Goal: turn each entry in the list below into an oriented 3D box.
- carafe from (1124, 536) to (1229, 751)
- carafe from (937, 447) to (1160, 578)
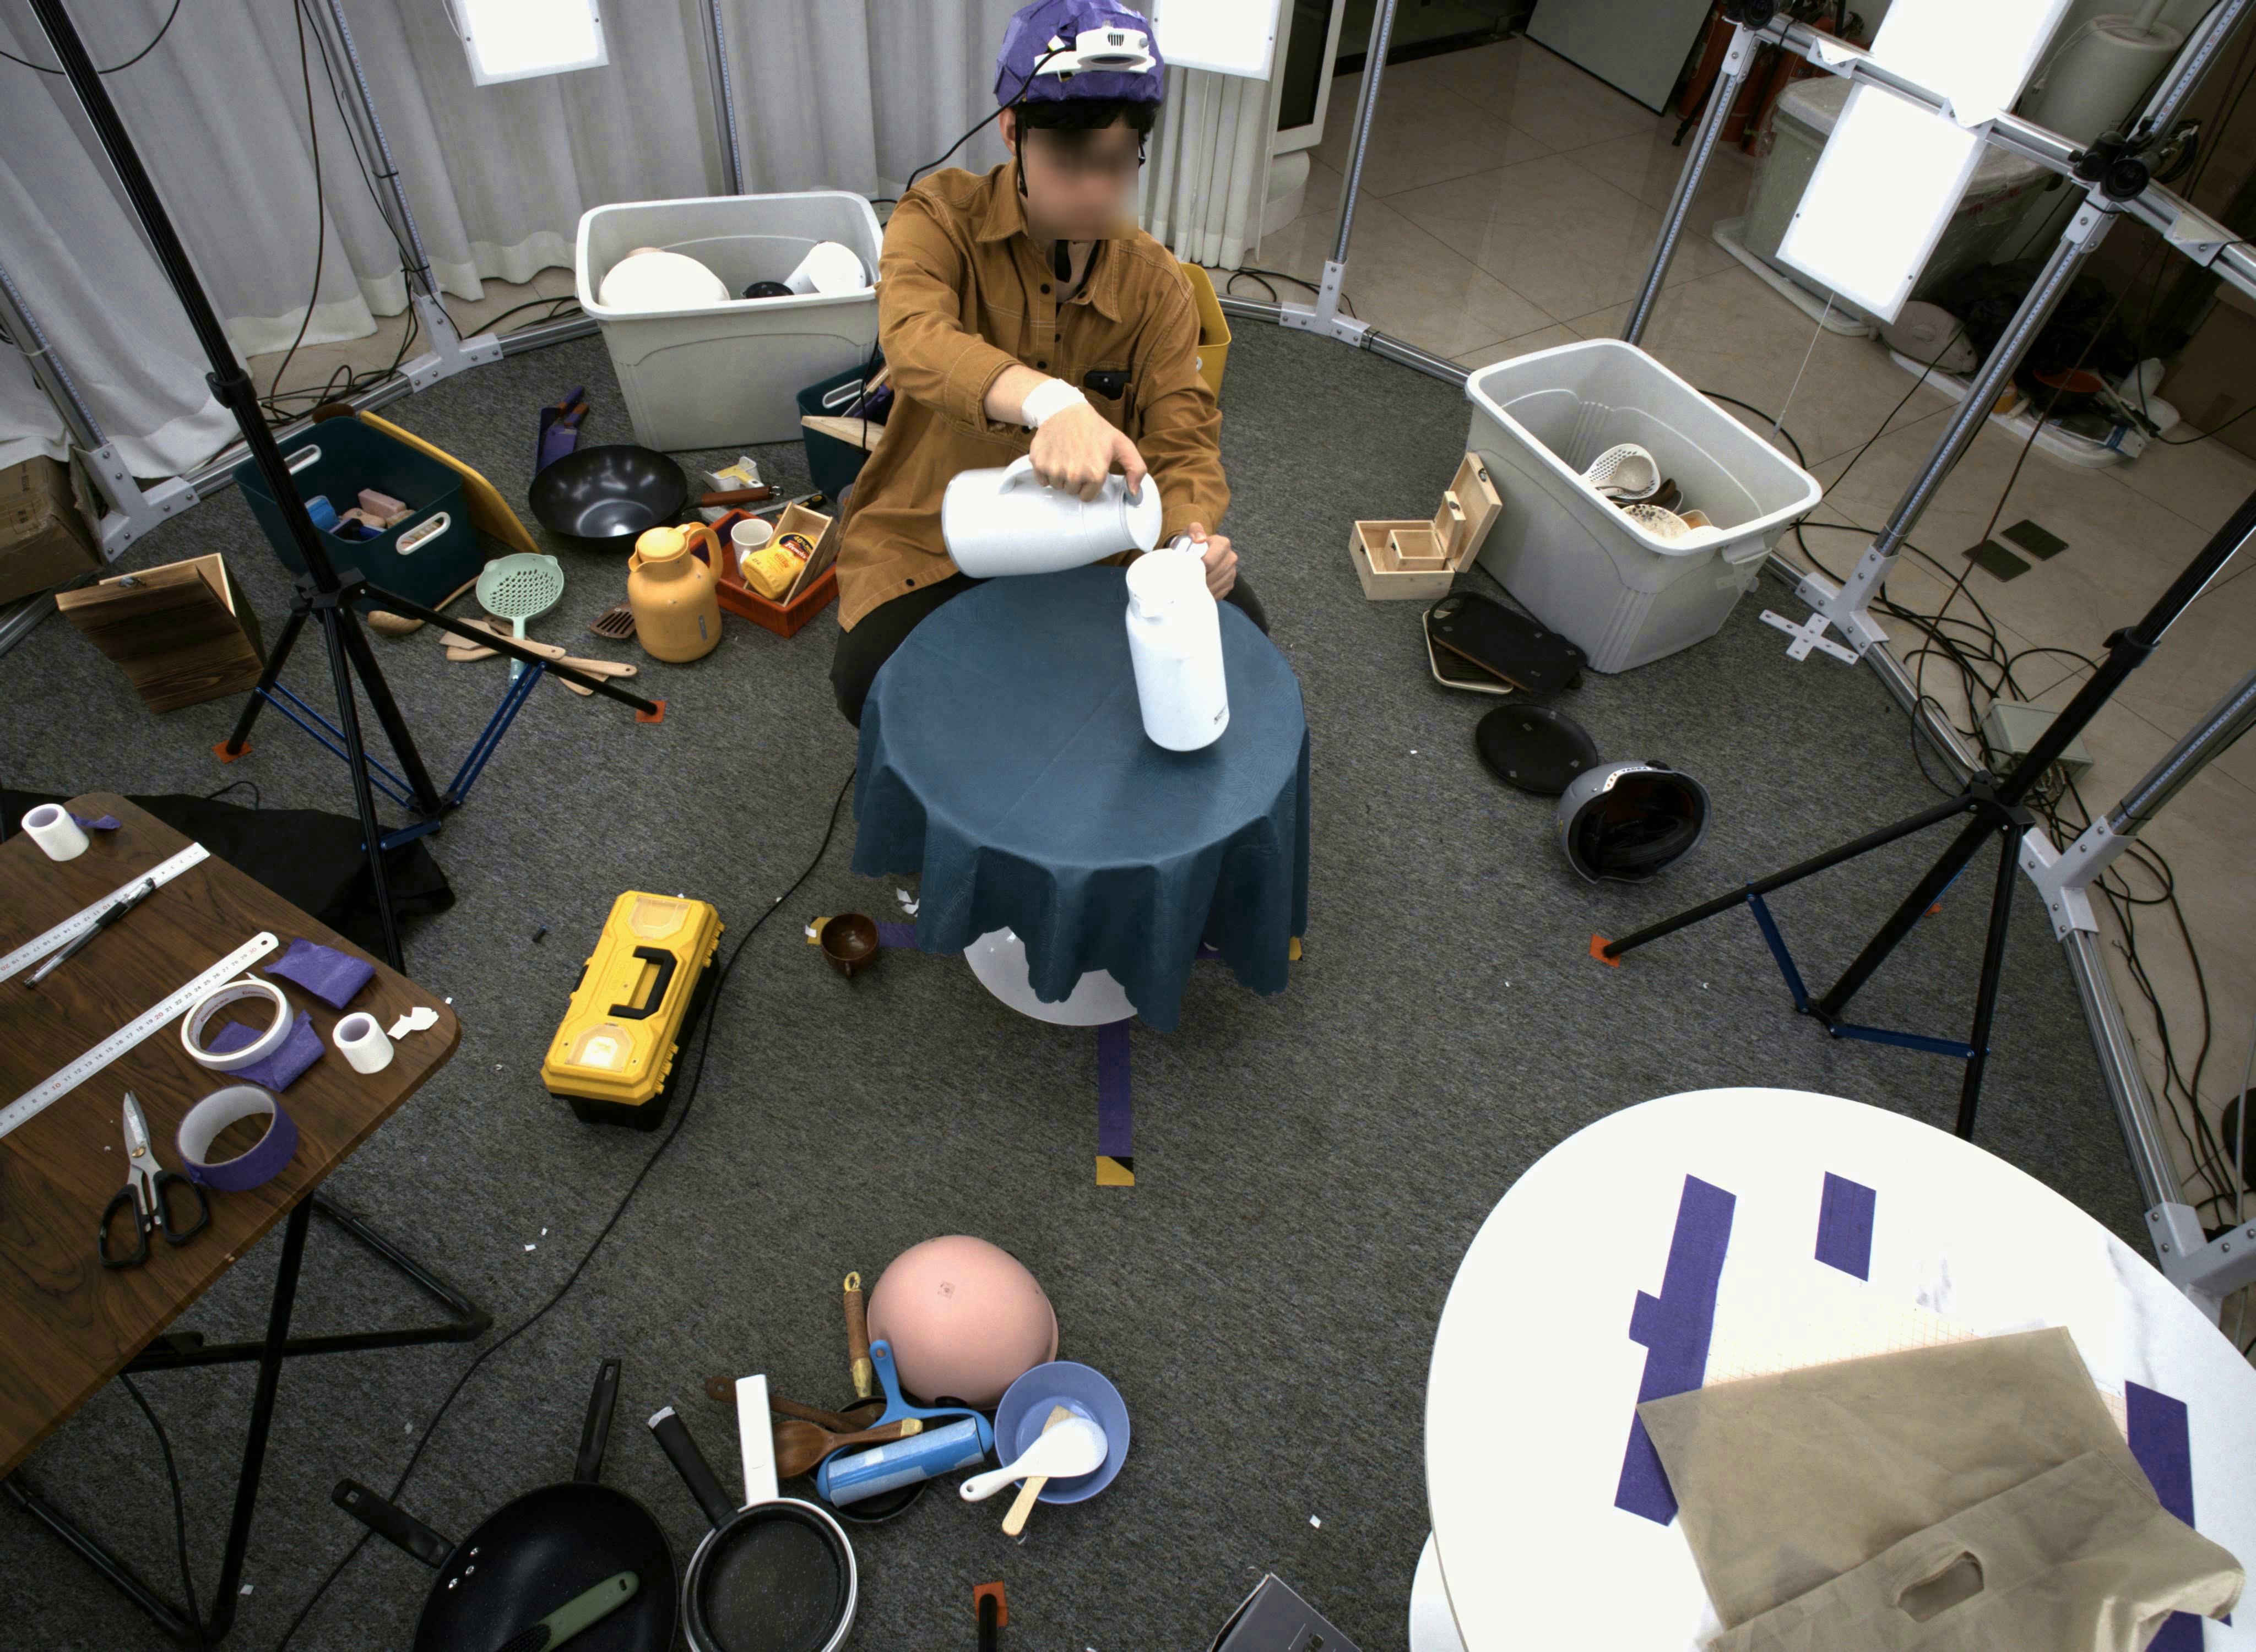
[{"bbox_3d":[0.067,-0.238,1.665,0.124,0.262,0.176,11,53,22],"label":"carafe"},{"bbox_3d":[-0.095,-0.375,1.513,0.249,0.164,0.135,2,63,28],"label":"carafe"}]
